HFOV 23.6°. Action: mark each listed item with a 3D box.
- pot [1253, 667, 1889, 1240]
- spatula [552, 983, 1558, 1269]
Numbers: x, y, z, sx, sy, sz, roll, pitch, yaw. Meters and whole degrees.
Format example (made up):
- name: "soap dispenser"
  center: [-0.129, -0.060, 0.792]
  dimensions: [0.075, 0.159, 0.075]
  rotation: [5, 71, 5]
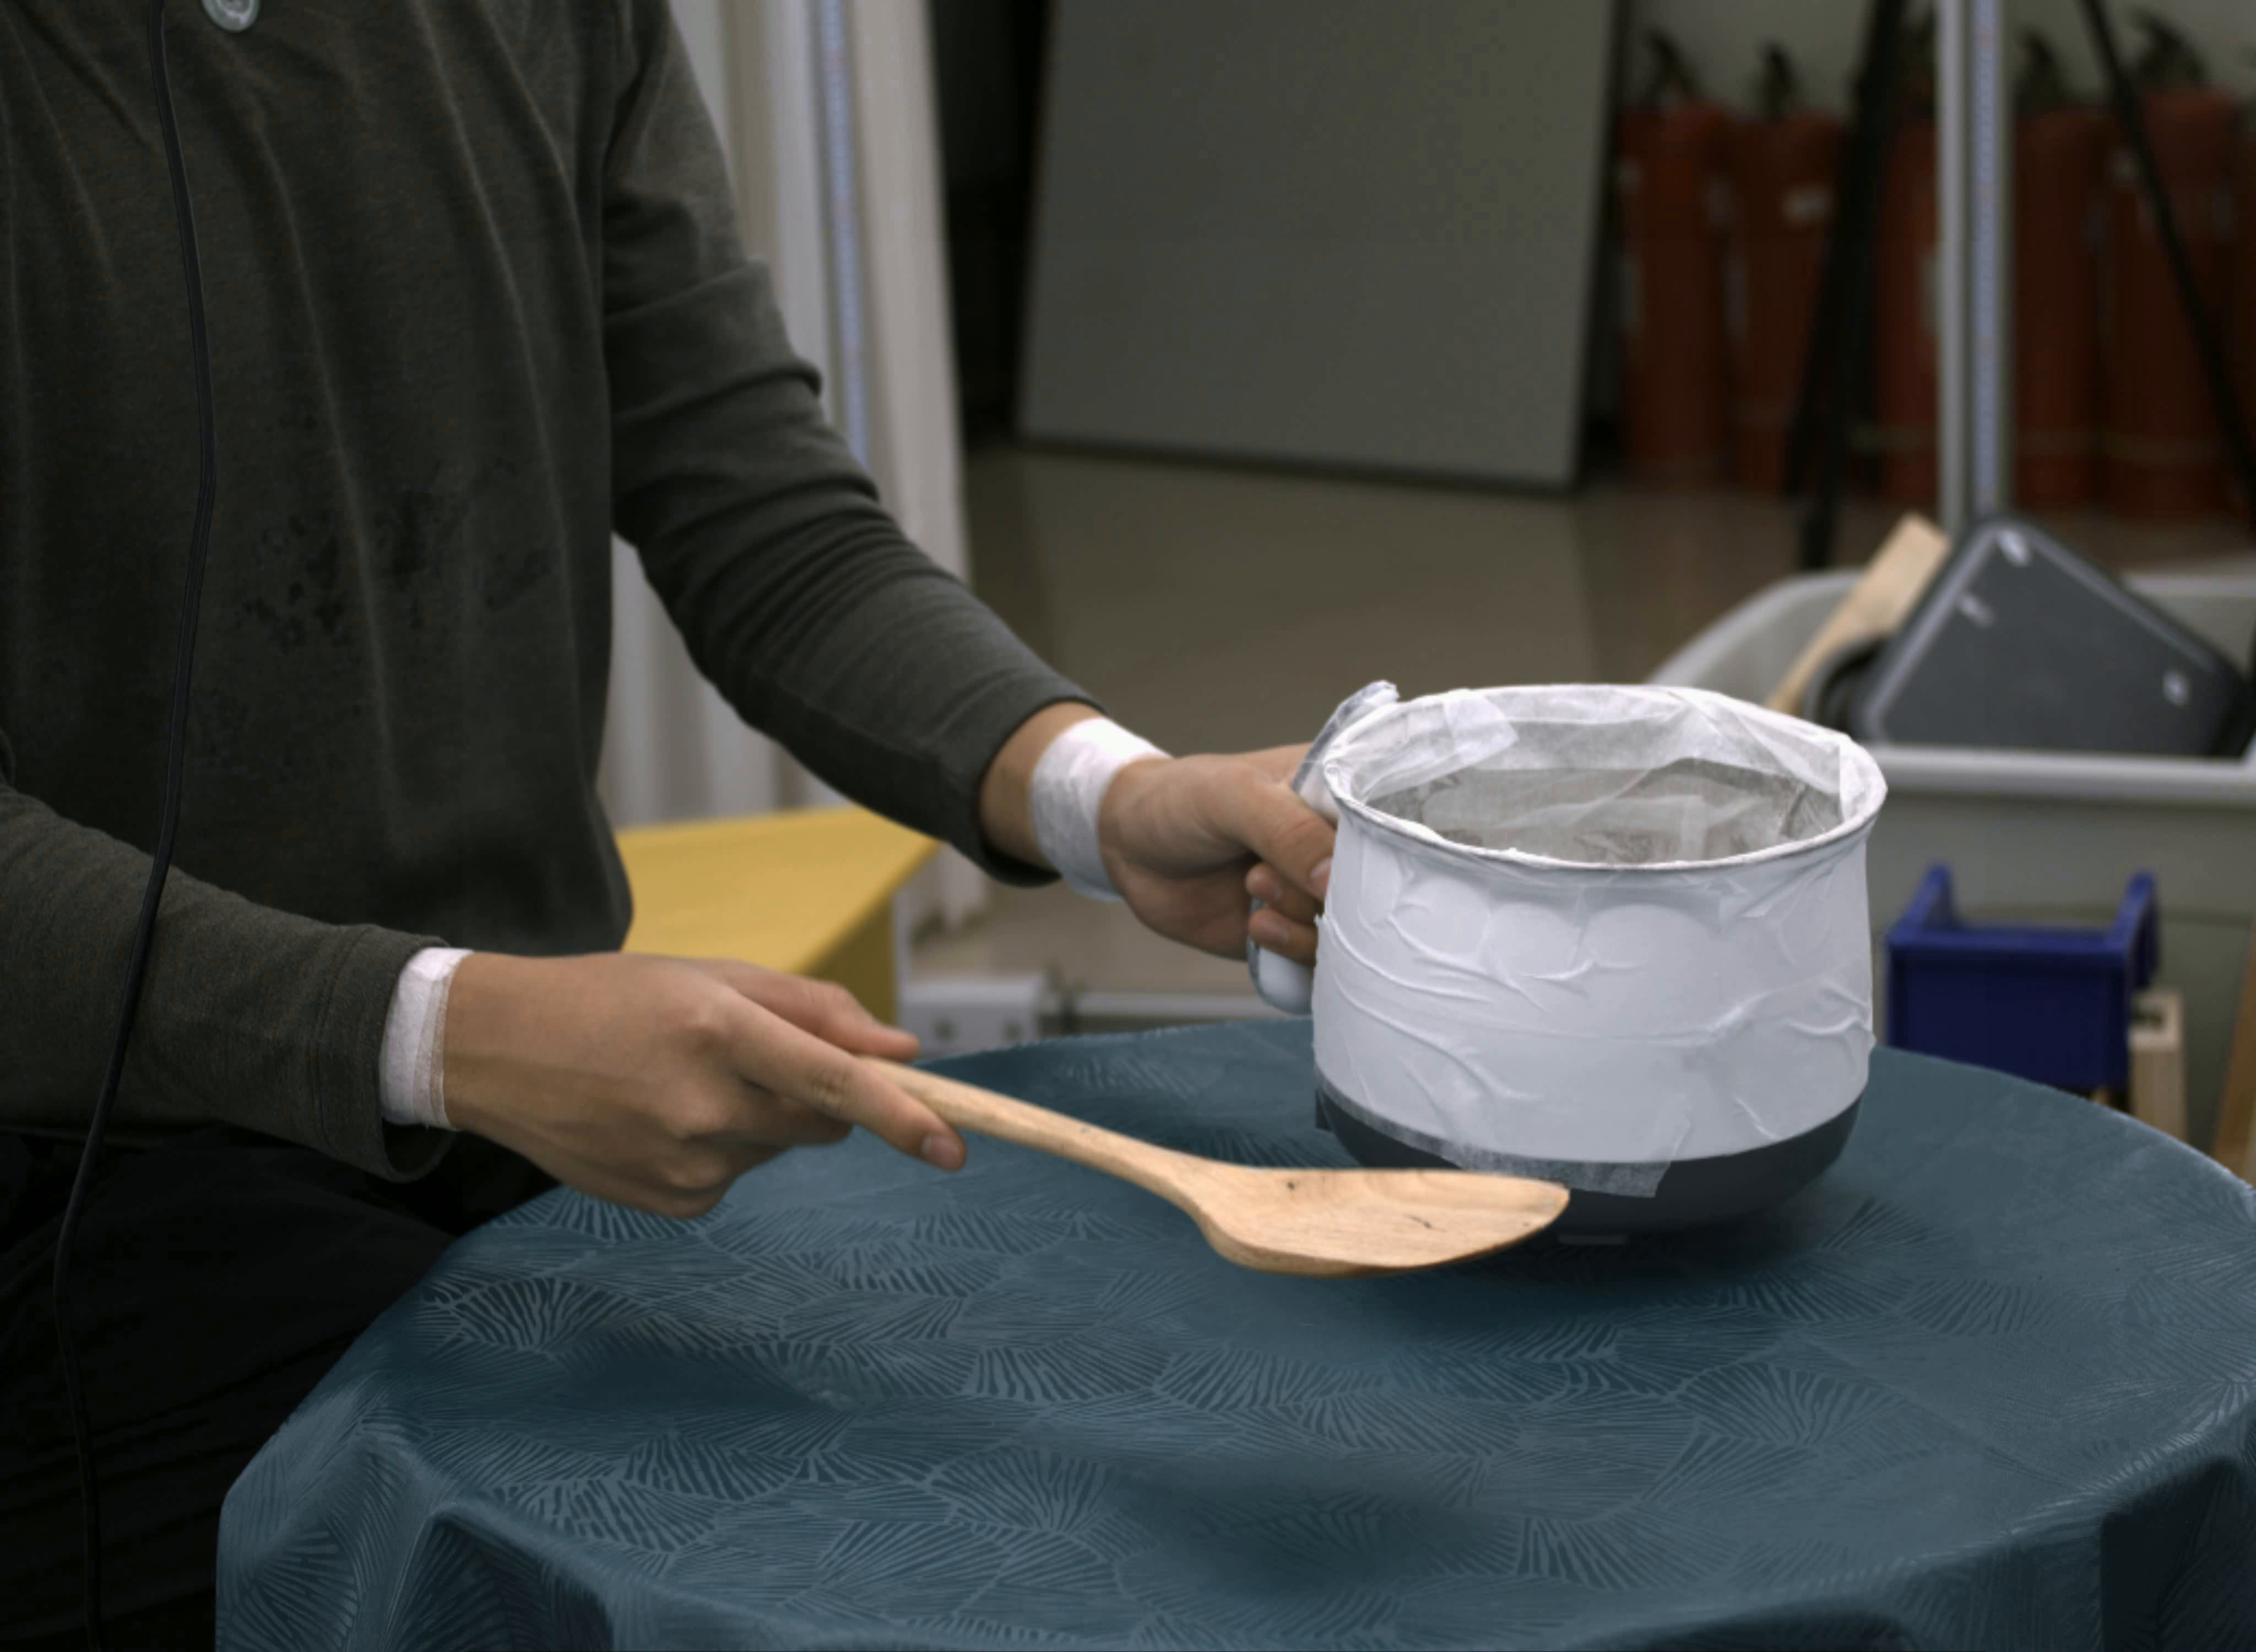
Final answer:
- name: "pot"
  center: [0.128, 0.033, 1.710]
  dimensions: [0.175, 0.138, 0.236]
  rotation: [-15, 24, -40]
- name: "spatula"
  center: [-0.041, 0.082, 1.571]
  dimensions: [0.394, 0.018, 0.094]
  rotation: [13, 20, 43]
